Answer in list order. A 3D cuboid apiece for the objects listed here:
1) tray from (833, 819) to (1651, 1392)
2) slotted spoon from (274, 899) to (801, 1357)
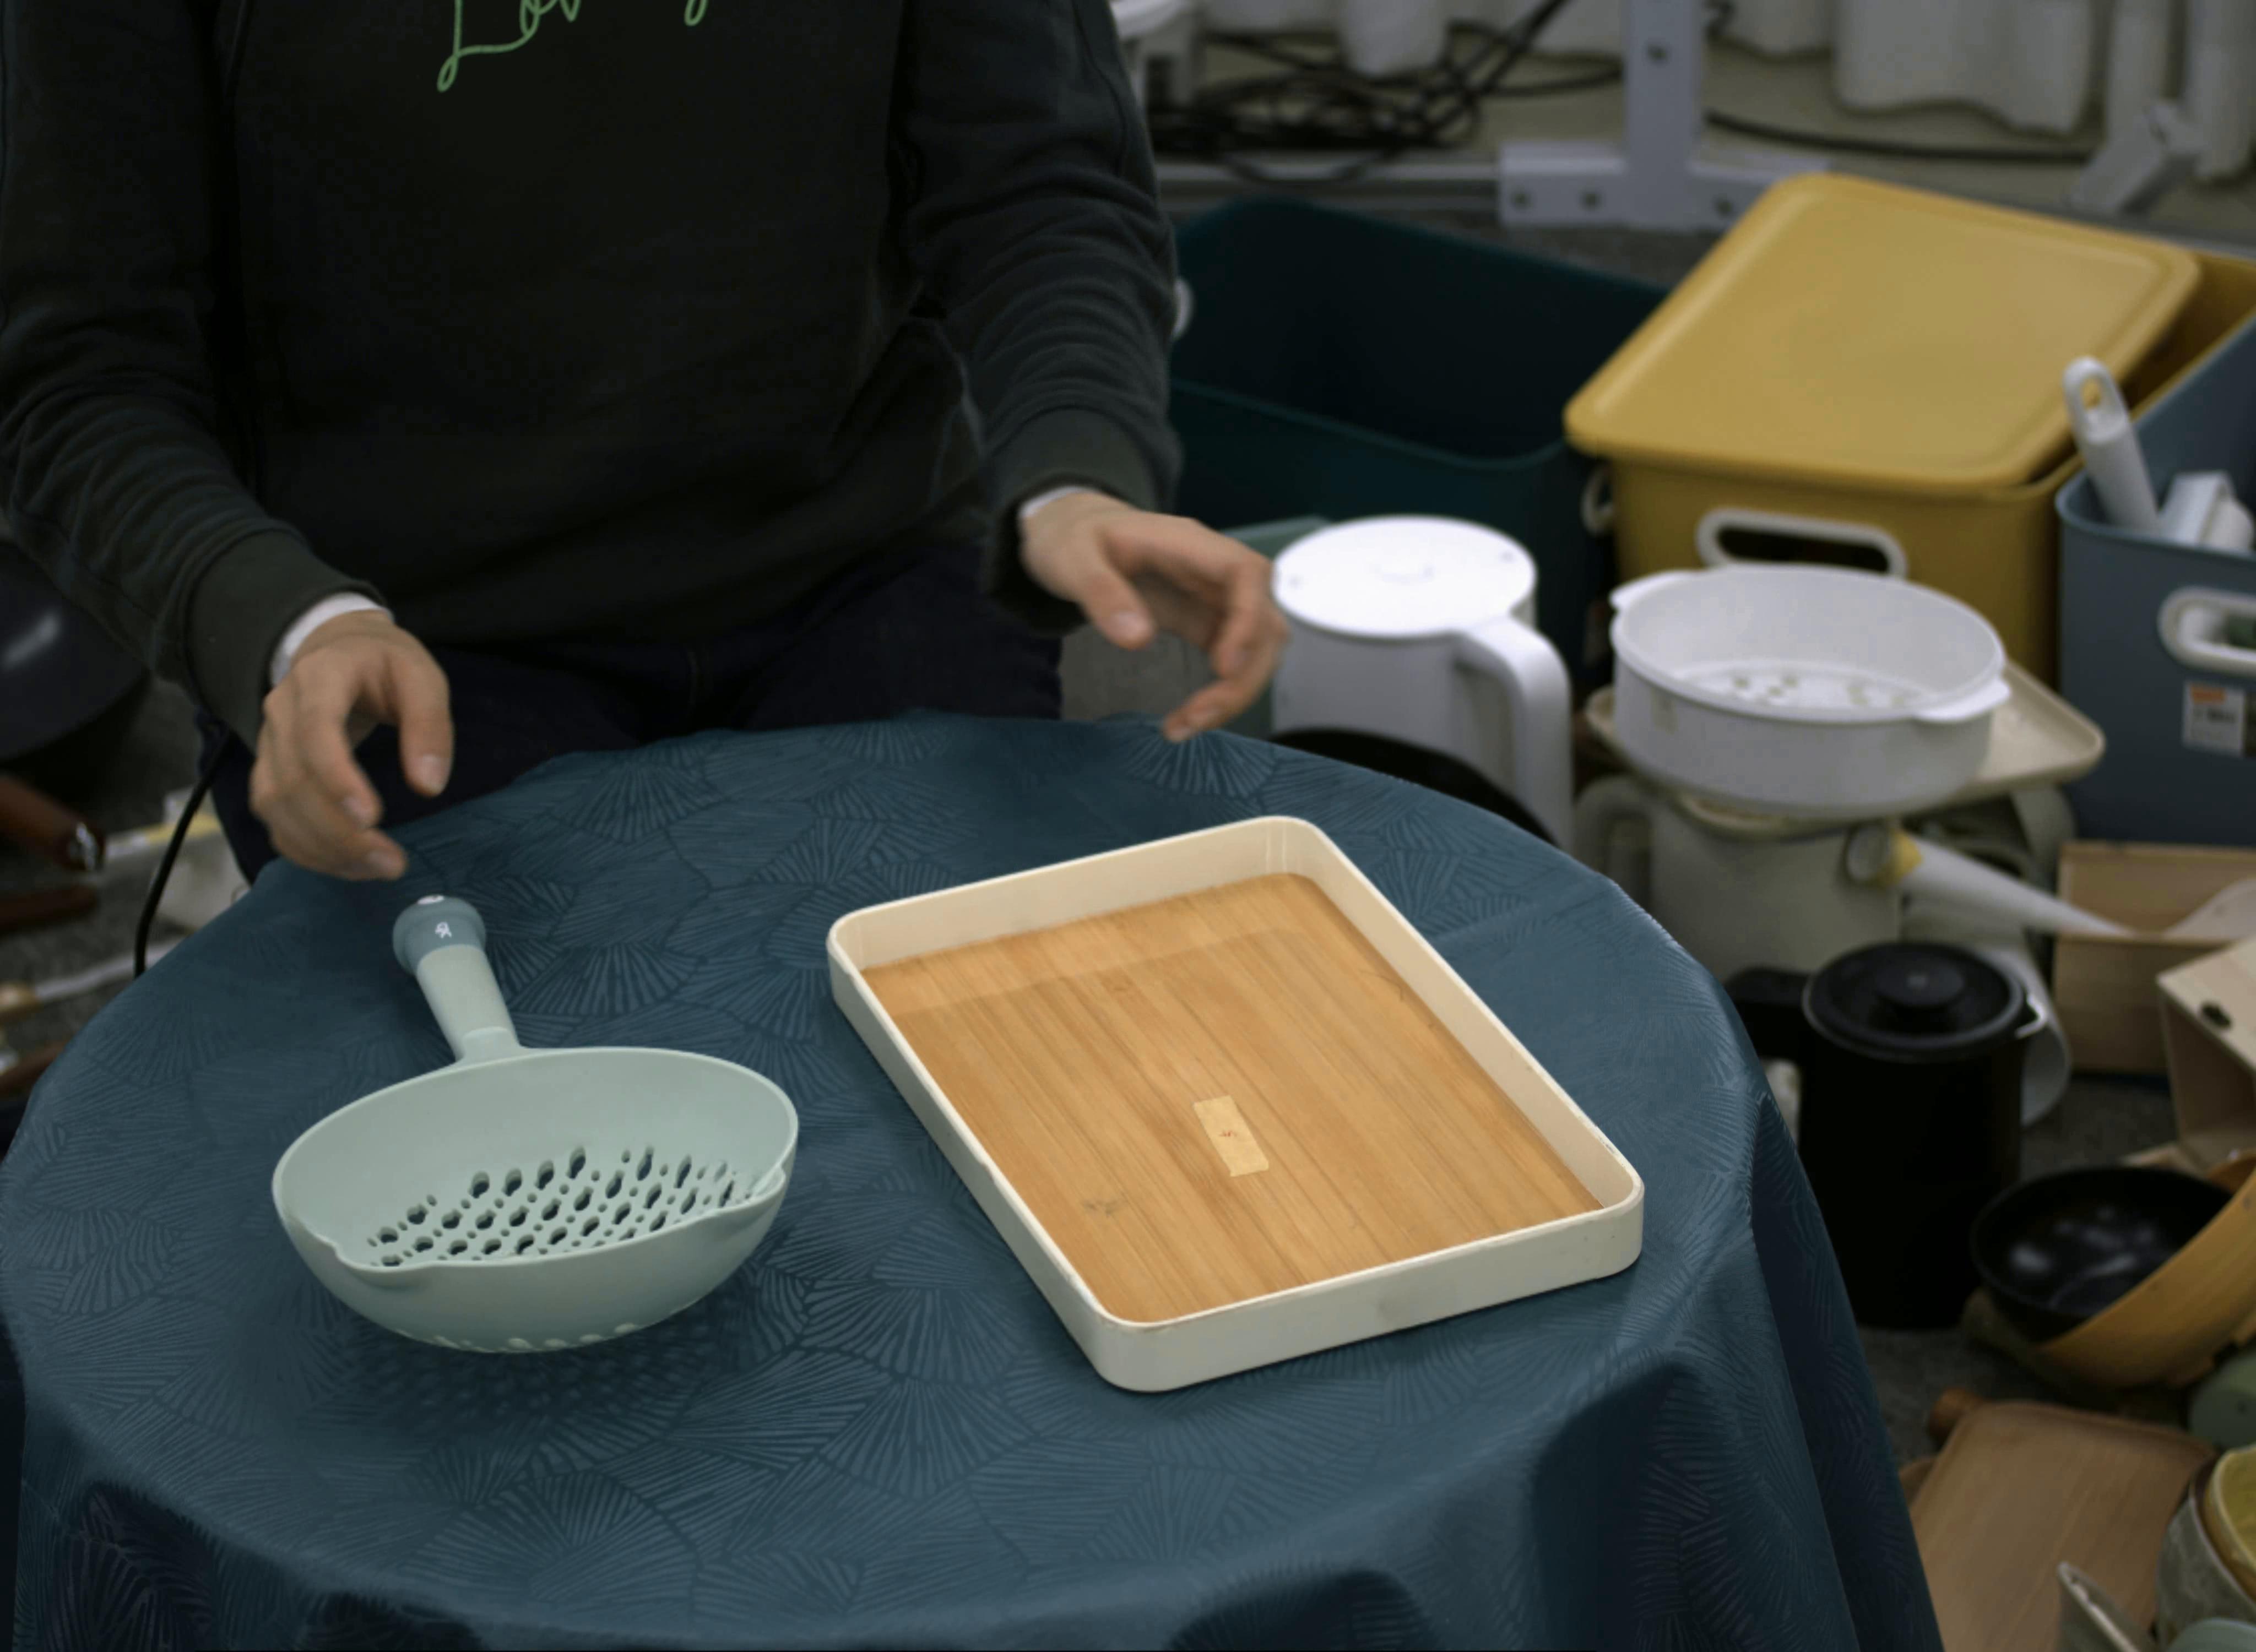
[{"bbox_3d":[0.032,0.088,1.895,0.192,0.027,0.303,-12,29,-17],"label":"tray"},{"bbox_3d":[-0.211,0.085,1.883,0.169,0.074,0.362,-9,28,-12],"label":"slotted spoon"}]
